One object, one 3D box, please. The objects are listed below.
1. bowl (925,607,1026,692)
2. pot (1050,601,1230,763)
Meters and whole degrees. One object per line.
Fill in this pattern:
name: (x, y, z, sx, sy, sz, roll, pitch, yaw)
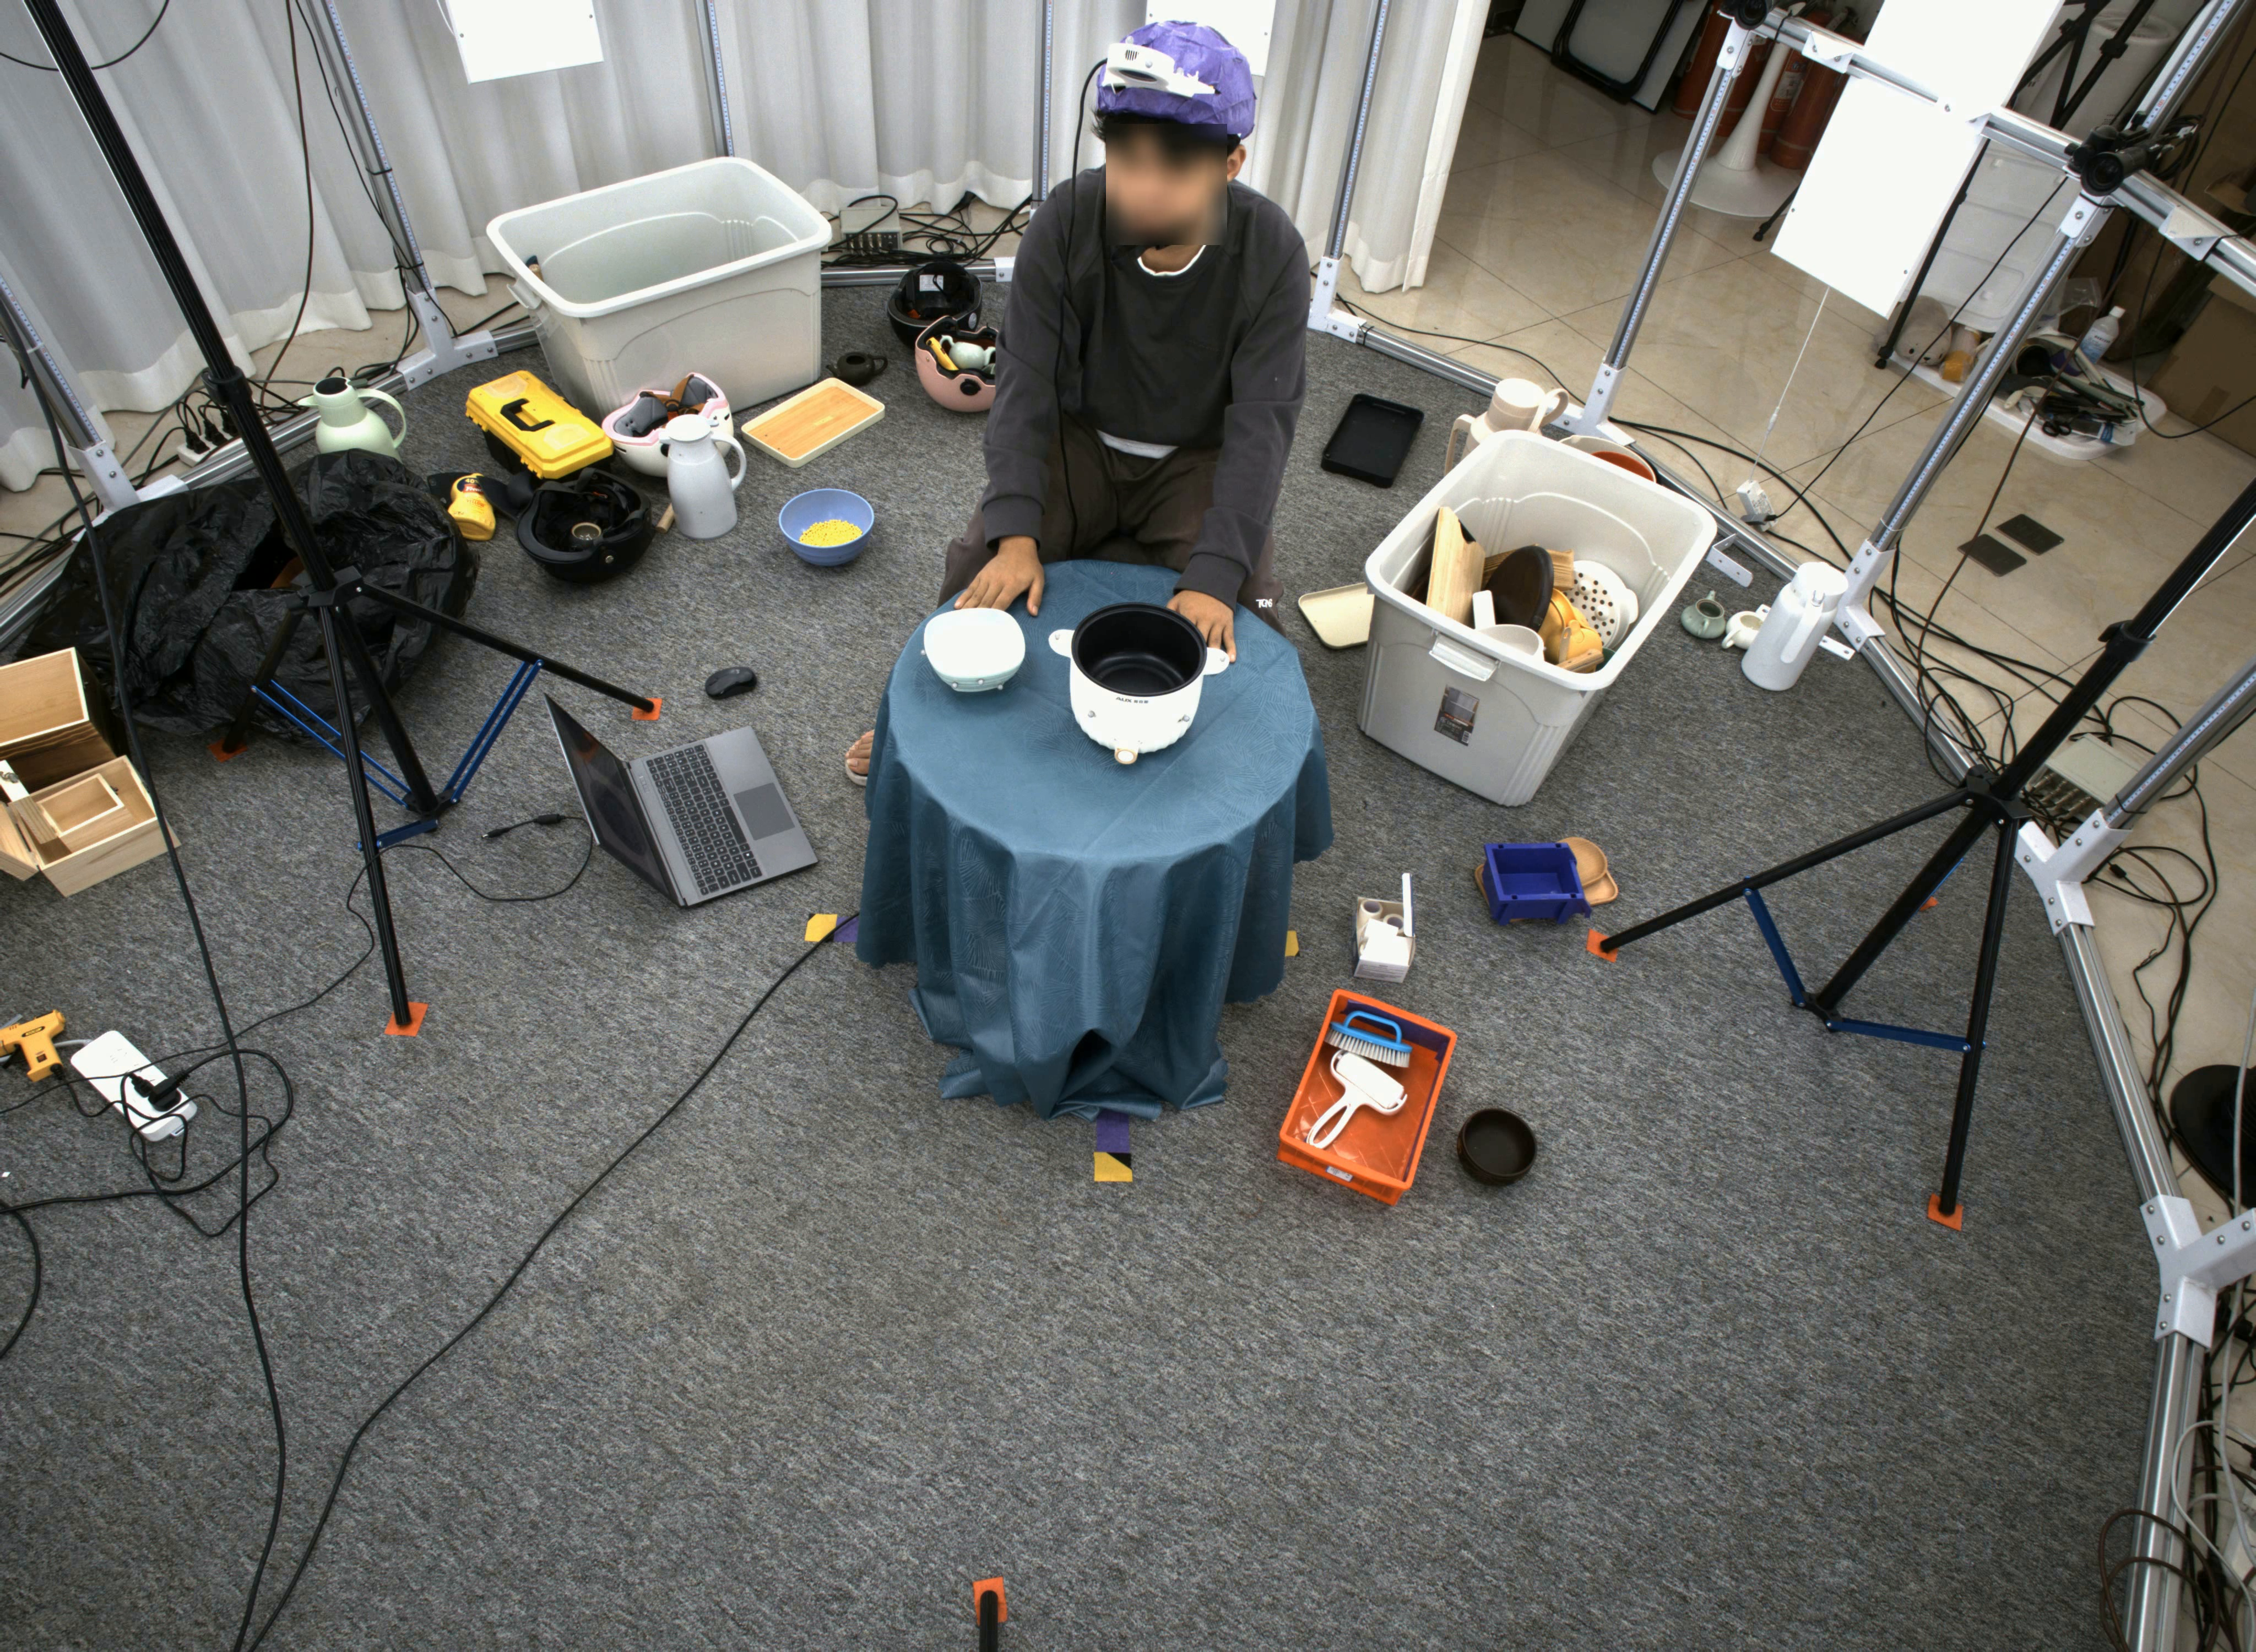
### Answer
bowl: (-0.215, -0.242, 1.822, 0.151, 0.057, 0.155, 2, 51, -3)
pot: (0.014, -0.192, 1.742, 0.240, 0.139, 0.195, 5, 46, 2)
